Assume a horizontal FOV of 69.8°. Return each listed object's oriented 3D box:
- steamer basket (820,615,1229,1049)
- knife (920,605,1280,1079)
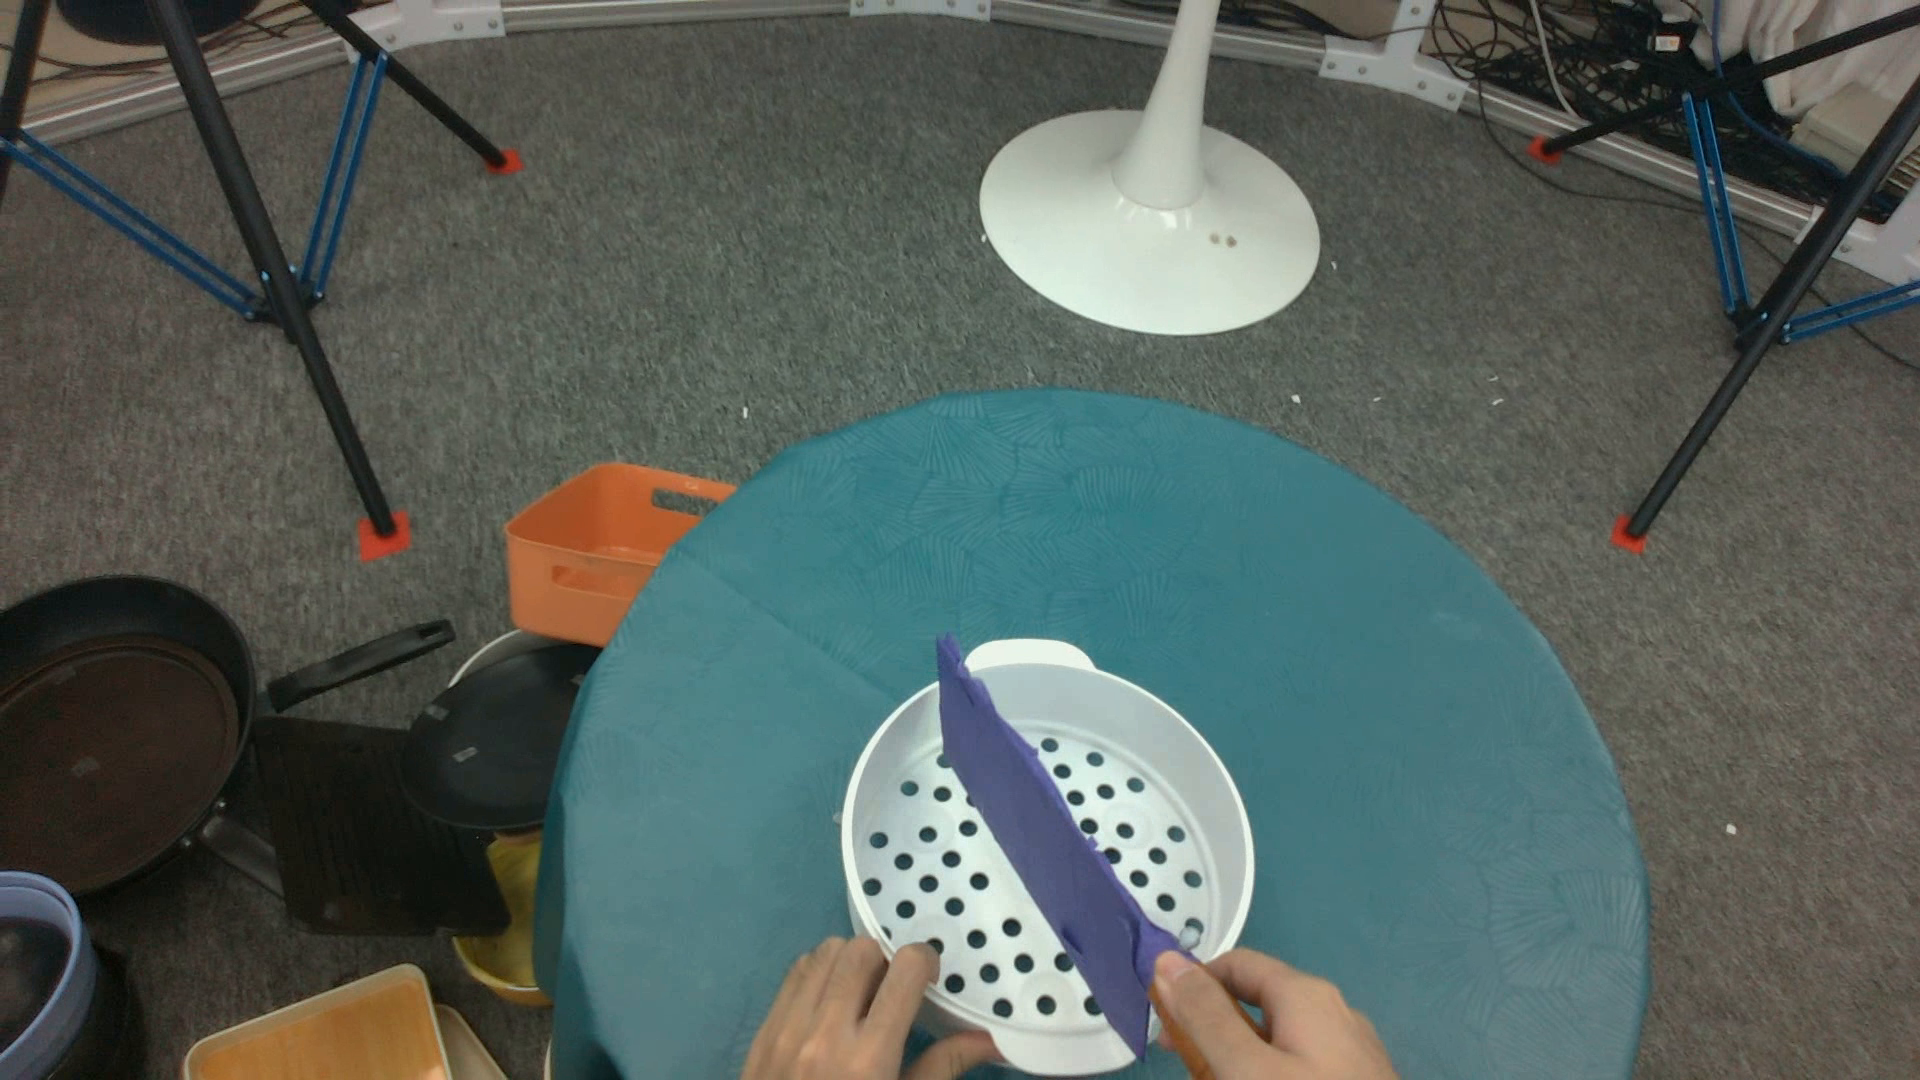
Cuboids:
[{"bbox_3d":[0.030,0.149,0.697,0.202,0.069,0.231,0,52,-7],"label":"steamer basket"},{"bbox_3d":[0.050,0.153,0.599,0.032,0.103,0.316,-17,39,-17],"label":"knife"}]
